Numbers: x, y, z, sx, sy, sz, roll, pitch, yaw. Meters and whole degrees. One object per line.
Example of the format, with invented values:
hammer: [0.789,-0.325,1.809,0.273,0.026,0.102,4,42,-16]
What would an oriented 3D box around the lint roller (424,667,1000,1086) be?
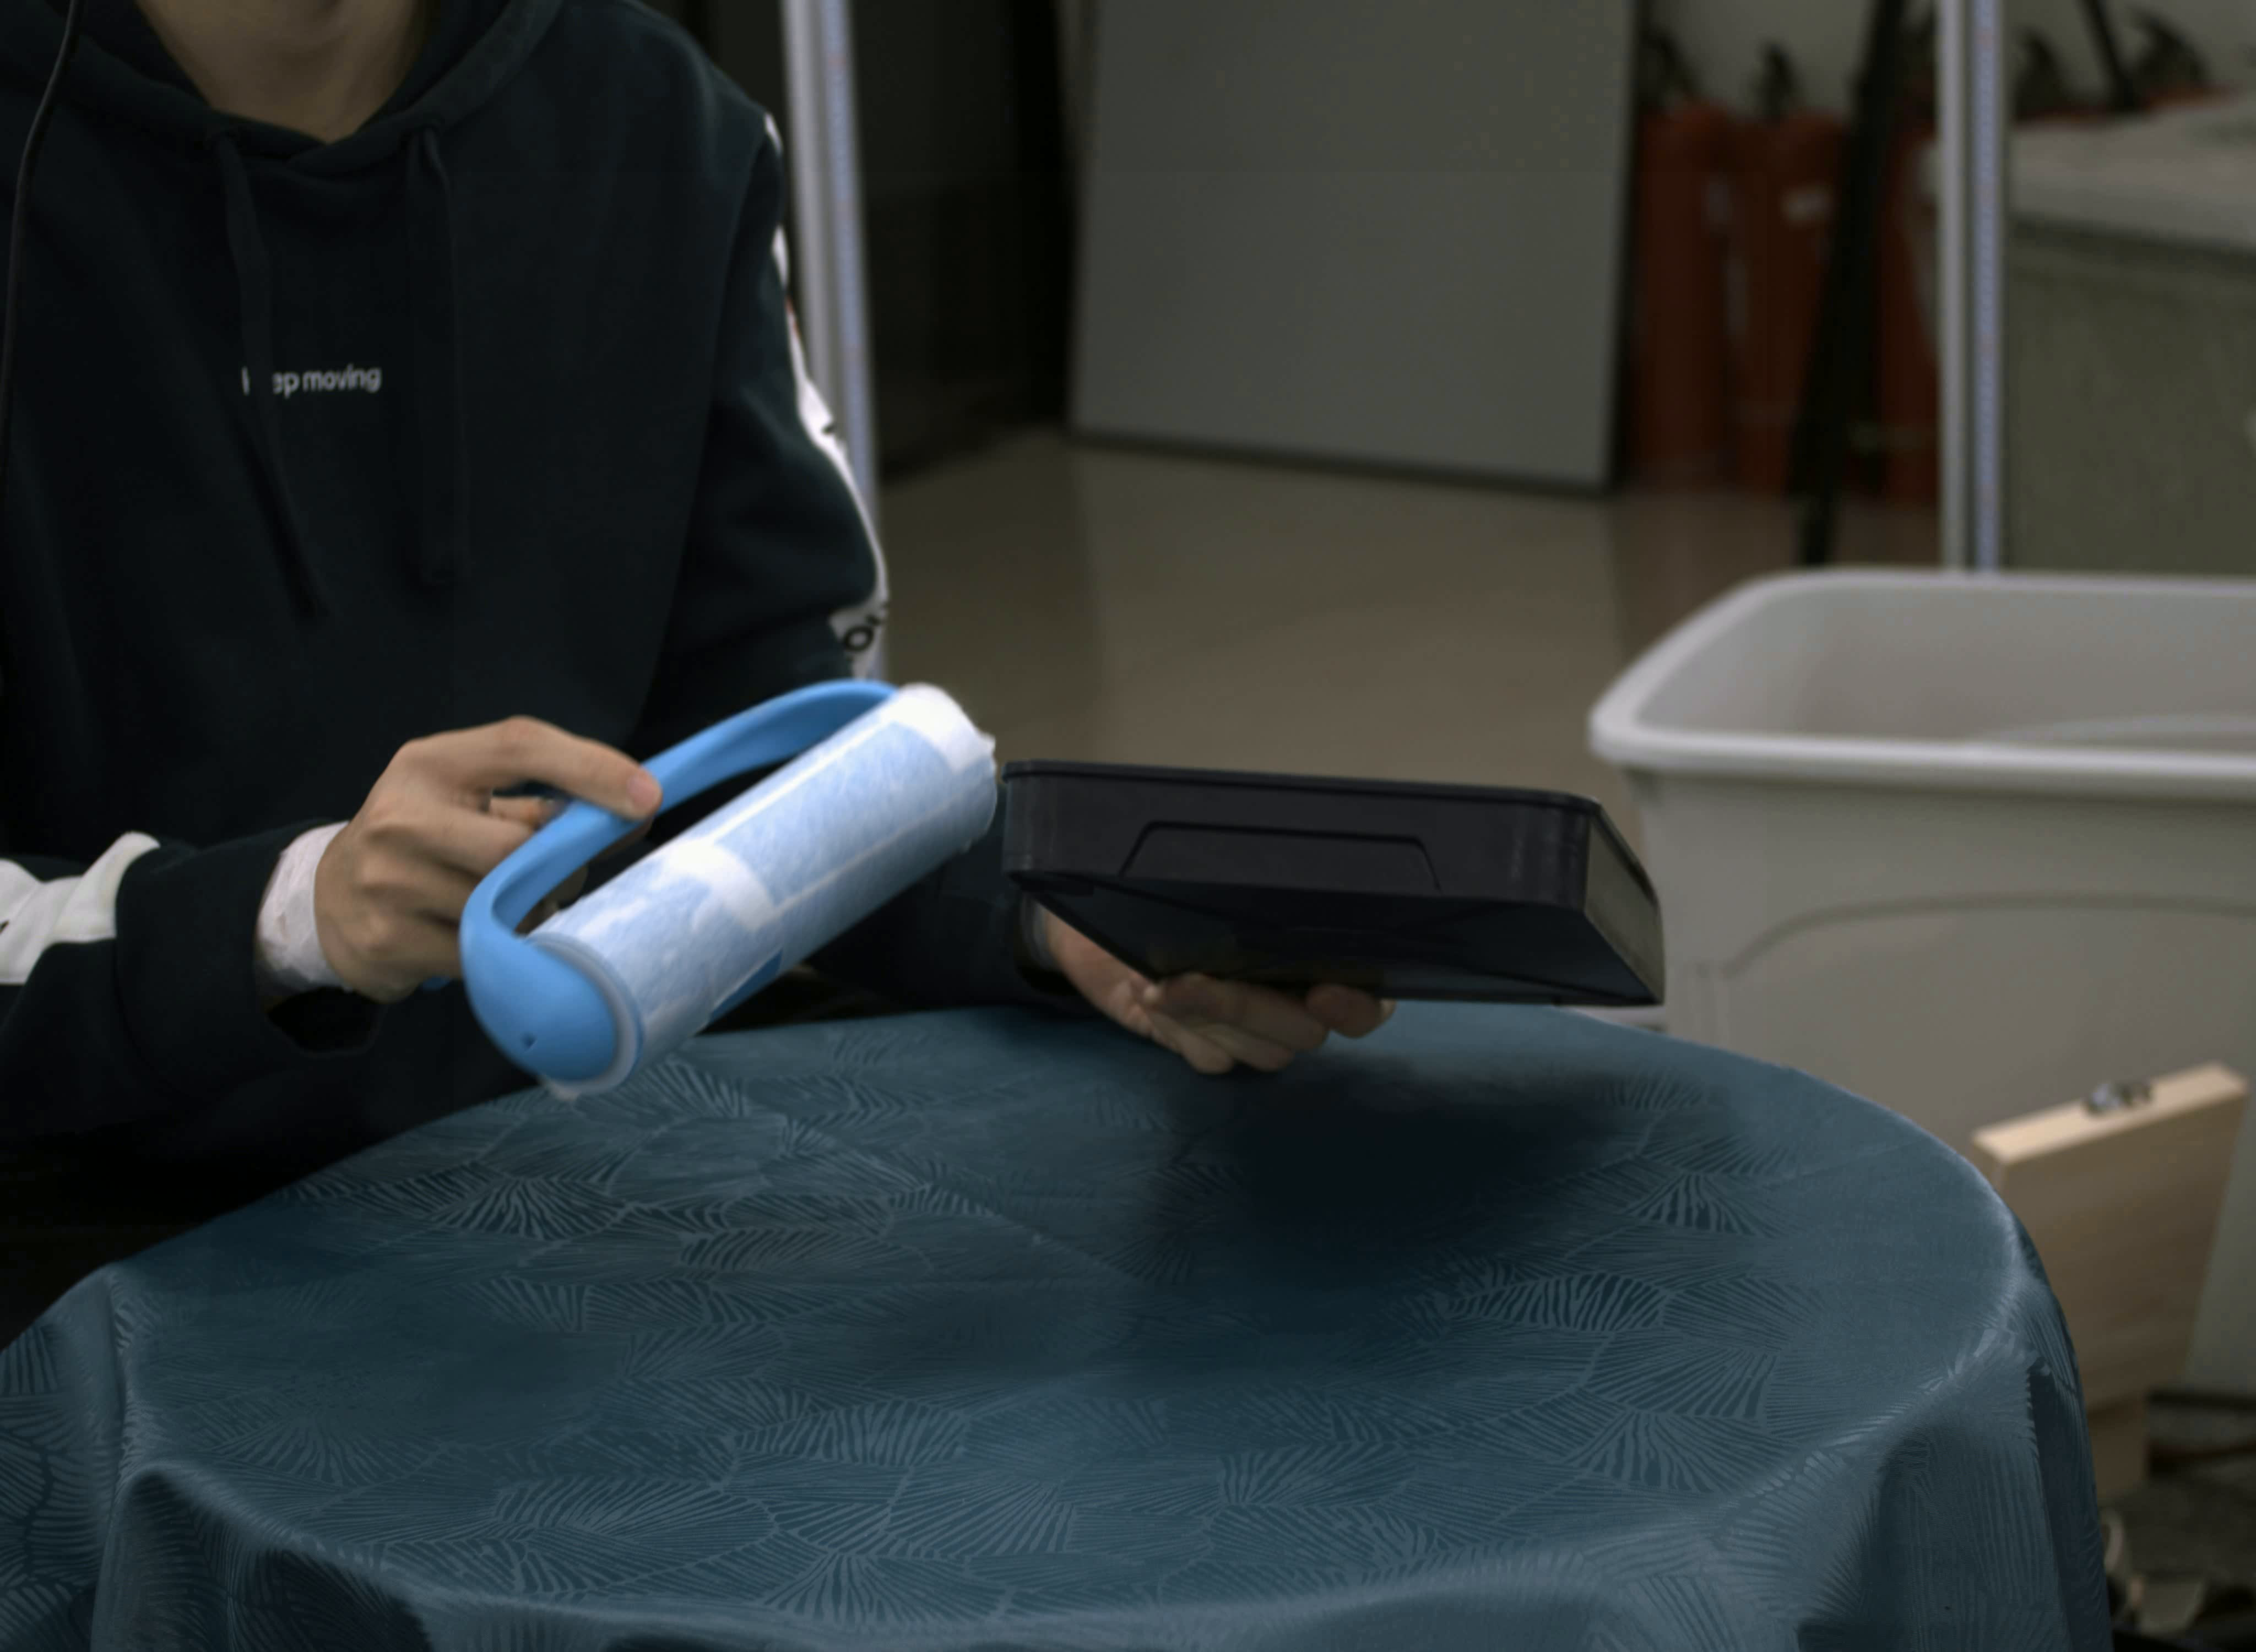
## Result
lint roller: [-0.161,0.019,1.698,0.181,0.068,0.226,-6,21,35]

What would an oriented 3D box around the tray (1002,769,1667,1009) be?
tray: [0.073,0.024,1.735,0.183,0.037,0.316,2,-7,10]
